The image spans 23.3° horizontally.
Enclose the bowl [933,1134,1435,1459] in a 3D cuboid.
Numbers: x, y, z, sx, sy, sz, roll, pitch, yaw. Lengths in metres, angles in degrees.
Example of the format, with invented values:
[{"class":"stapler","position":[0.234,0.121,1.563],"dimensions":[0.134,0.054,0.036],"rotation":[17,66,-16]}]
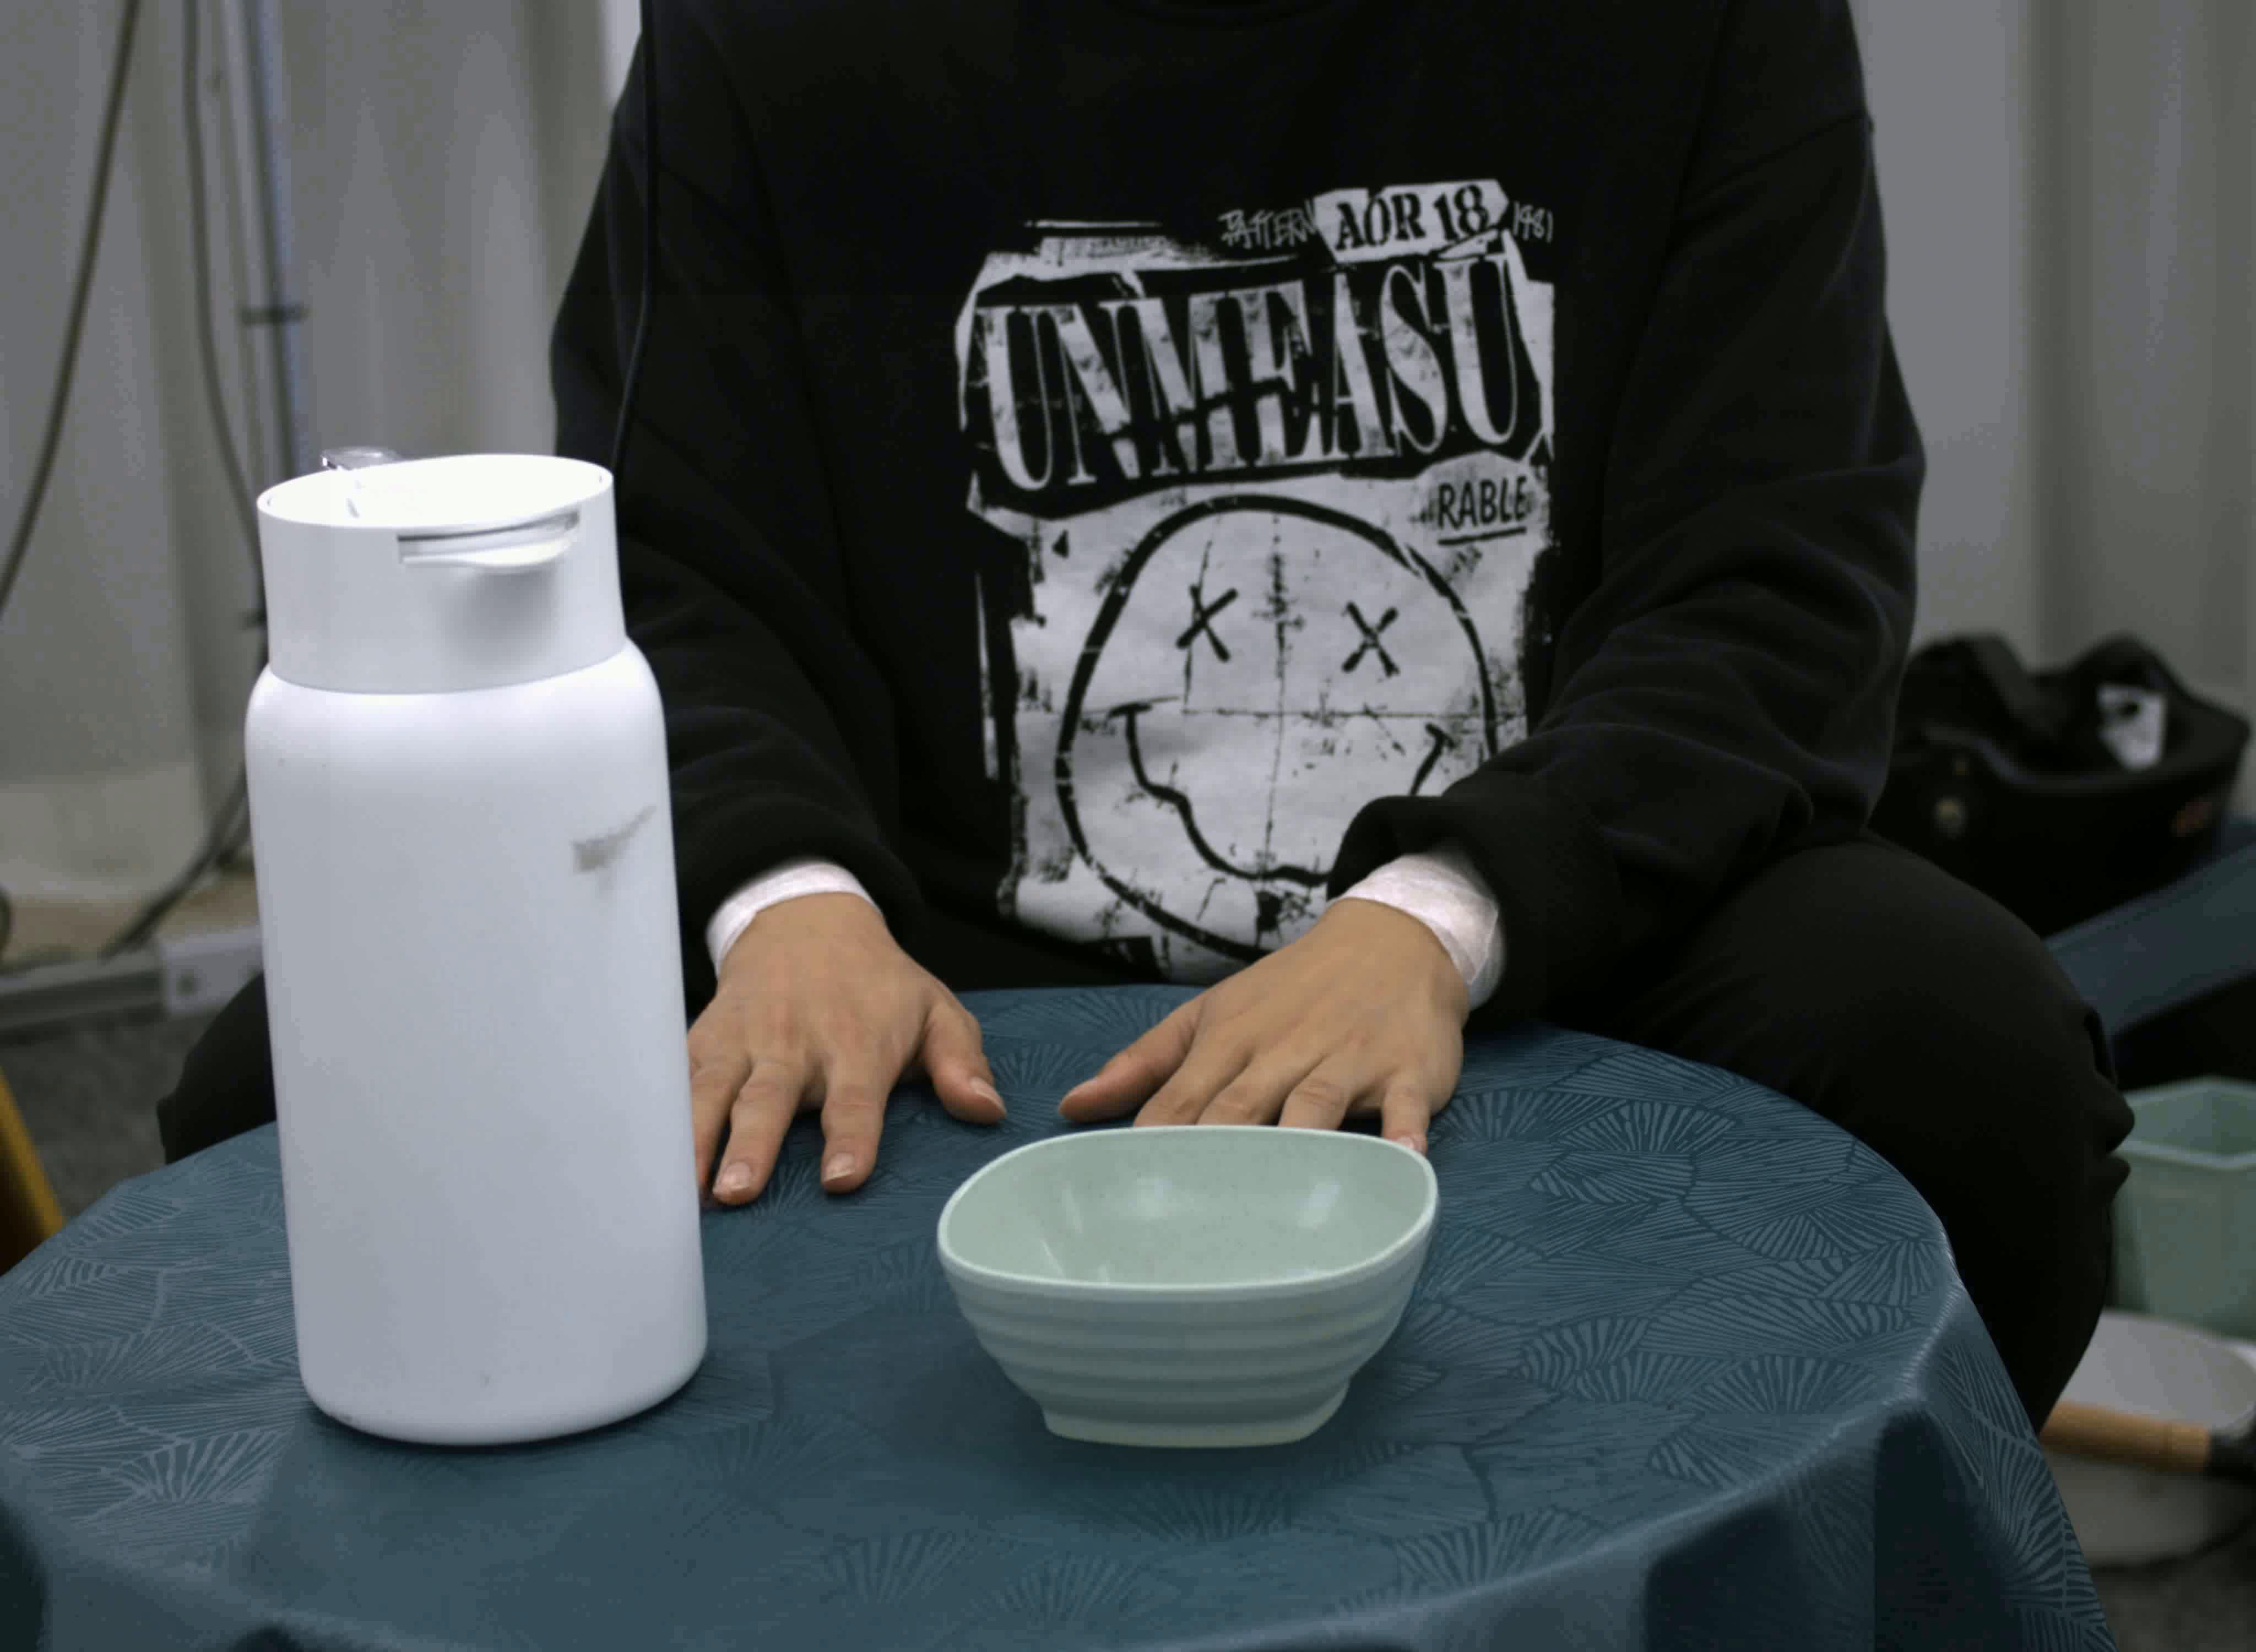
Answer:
[{"class":"bowl","position":[0.017,0.135,1.532],"dimensions":[0.151,0.058,0.152],"rotation":[-2,14,0]}]

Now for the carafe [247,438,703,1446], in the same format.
[{"class":"carafe","position":[-0.194,0.029,1.558],"dimensions":[0.123,0.268,0.174],"rotation":[-12,16,-26]}]
